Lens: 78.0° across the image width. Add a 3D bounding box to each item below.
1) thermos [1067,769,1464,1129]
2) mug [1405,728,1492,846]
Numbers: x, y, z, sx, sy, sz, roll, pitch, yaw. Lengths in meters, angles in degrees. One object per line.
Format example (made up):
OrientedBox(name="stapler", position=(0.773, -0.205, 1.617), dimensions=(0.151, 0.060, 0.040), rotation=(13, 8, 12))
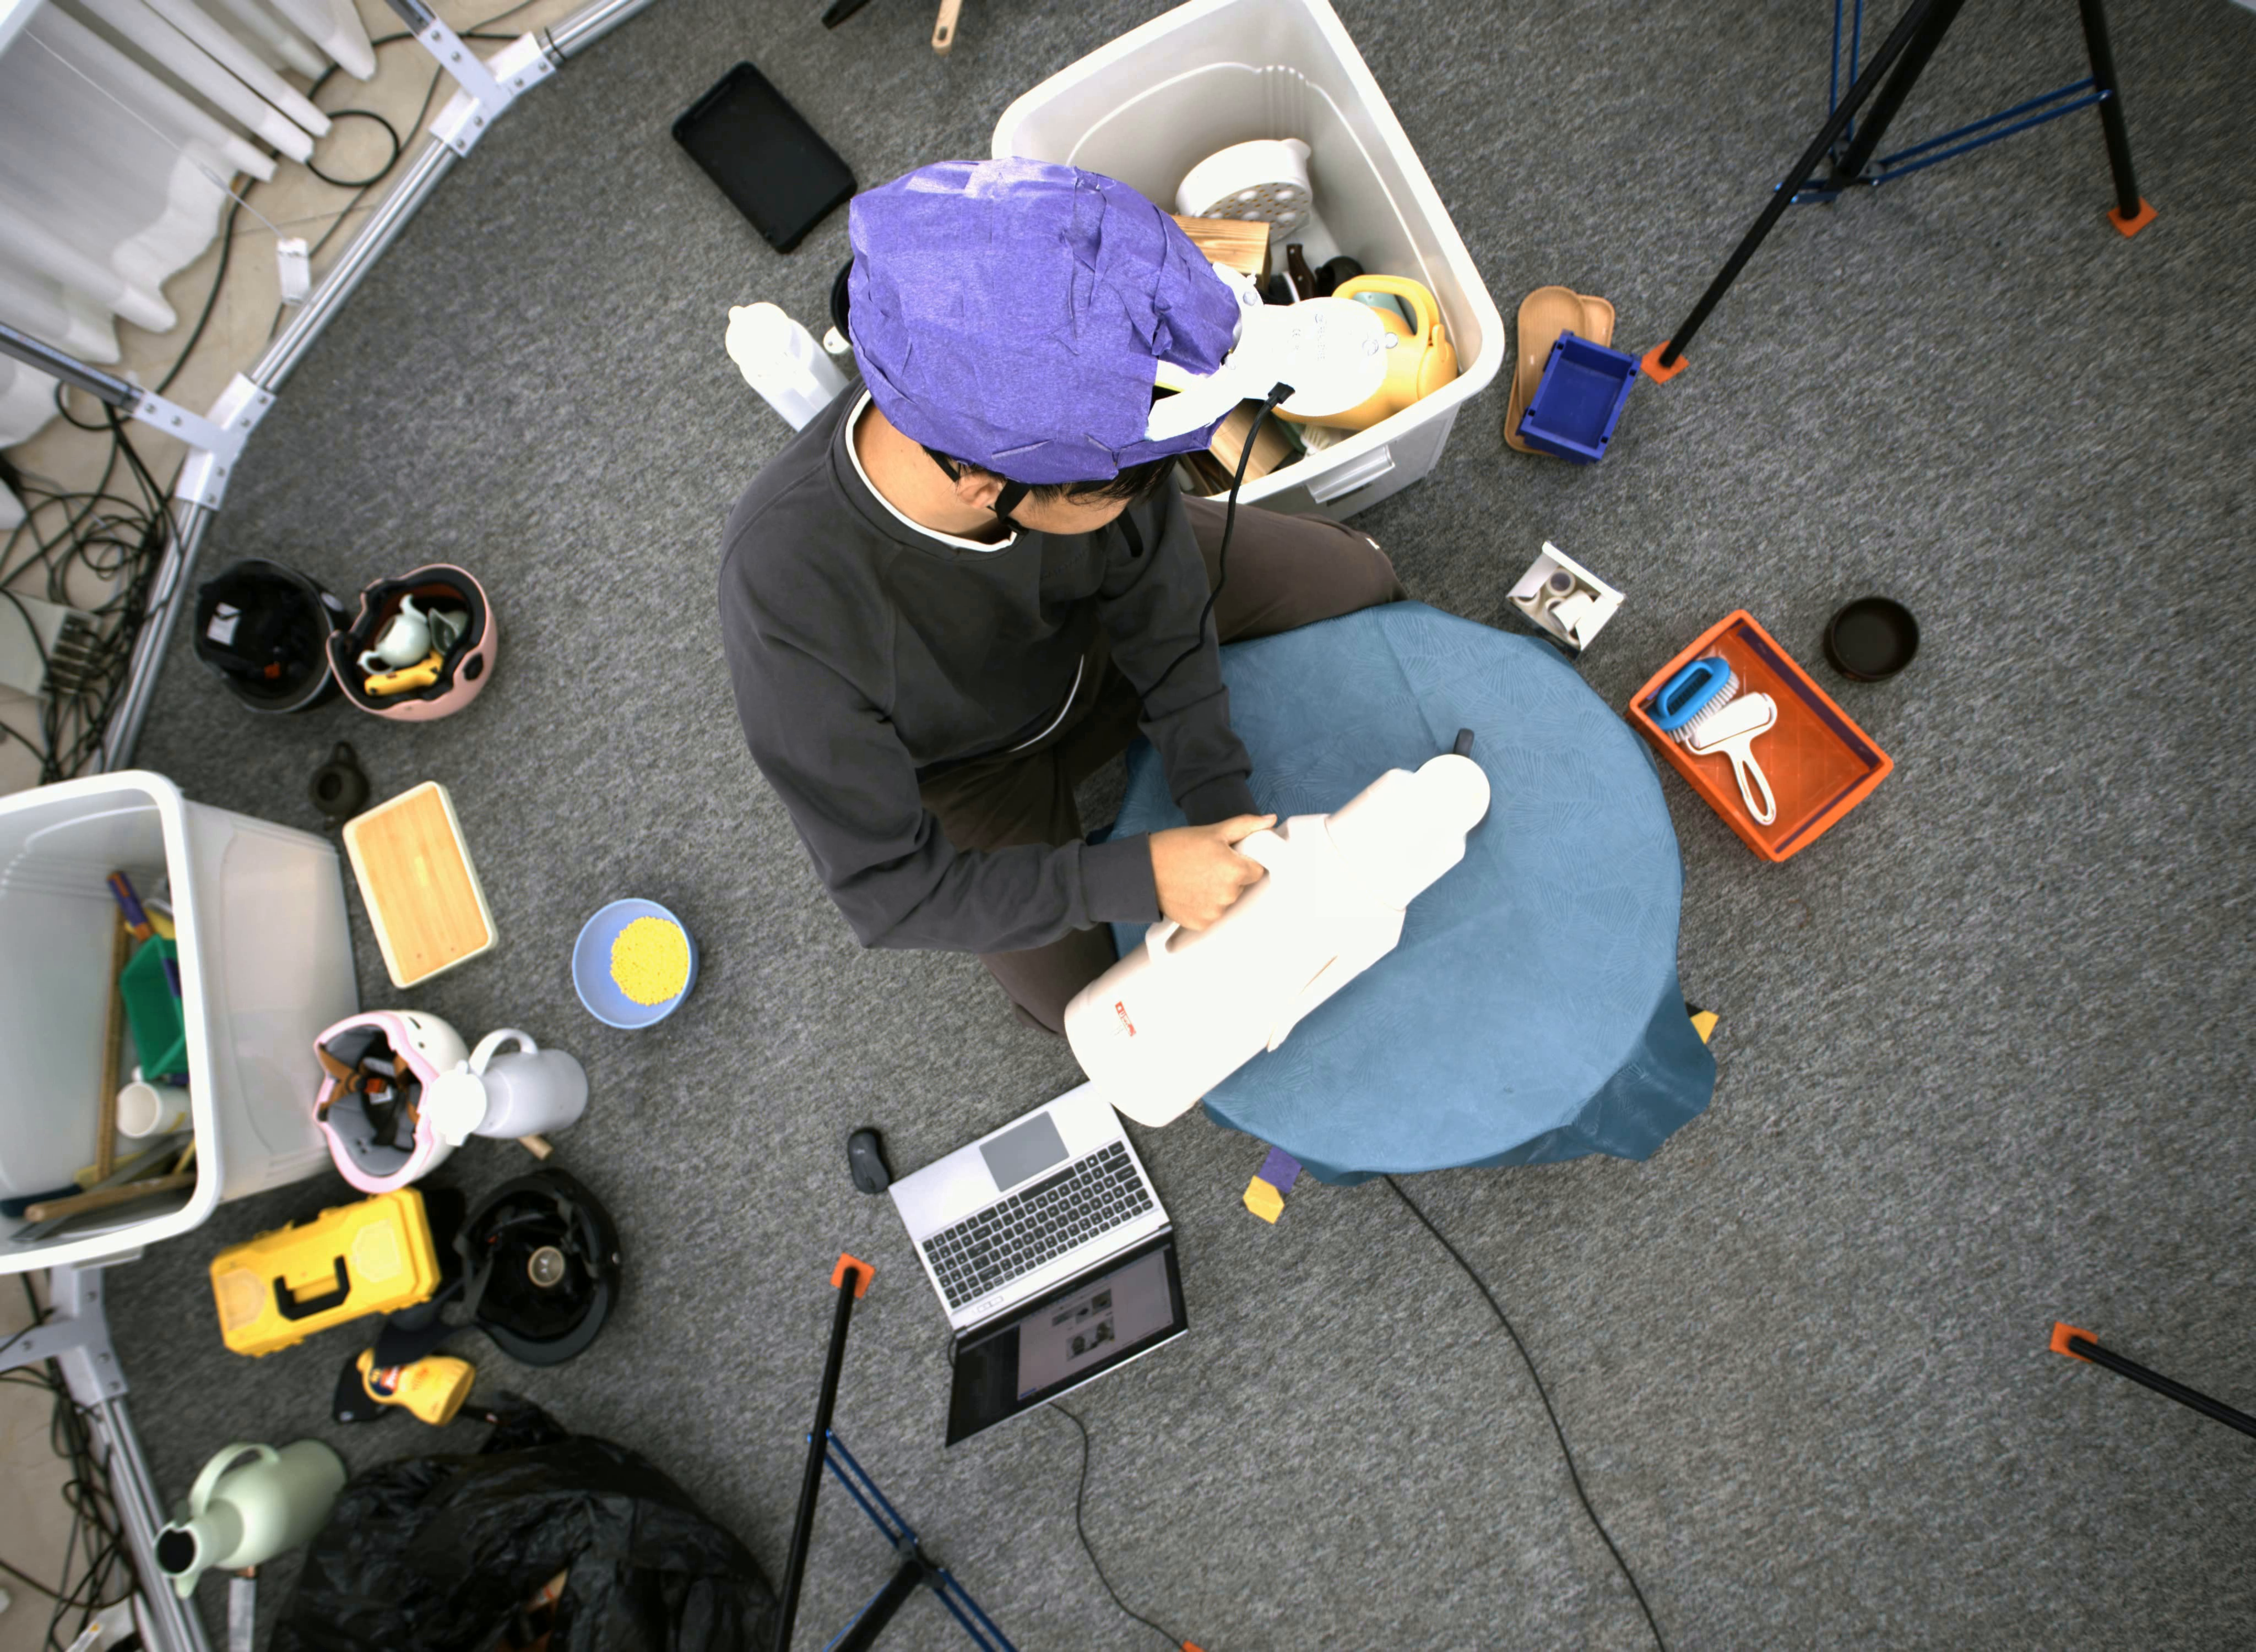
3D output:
OrientedBox(name="thermos", position=(0.123, 0.106, 1.323), dimensions=(0.413, 0.208, 0.171), rotation=(-42, 40, 22))
OrientedBox(name="mug", position=(0.333, -0.043, 1.410), dimensions=(0.093, 0.090, 0.123), rotation=(19, 90, 12))
